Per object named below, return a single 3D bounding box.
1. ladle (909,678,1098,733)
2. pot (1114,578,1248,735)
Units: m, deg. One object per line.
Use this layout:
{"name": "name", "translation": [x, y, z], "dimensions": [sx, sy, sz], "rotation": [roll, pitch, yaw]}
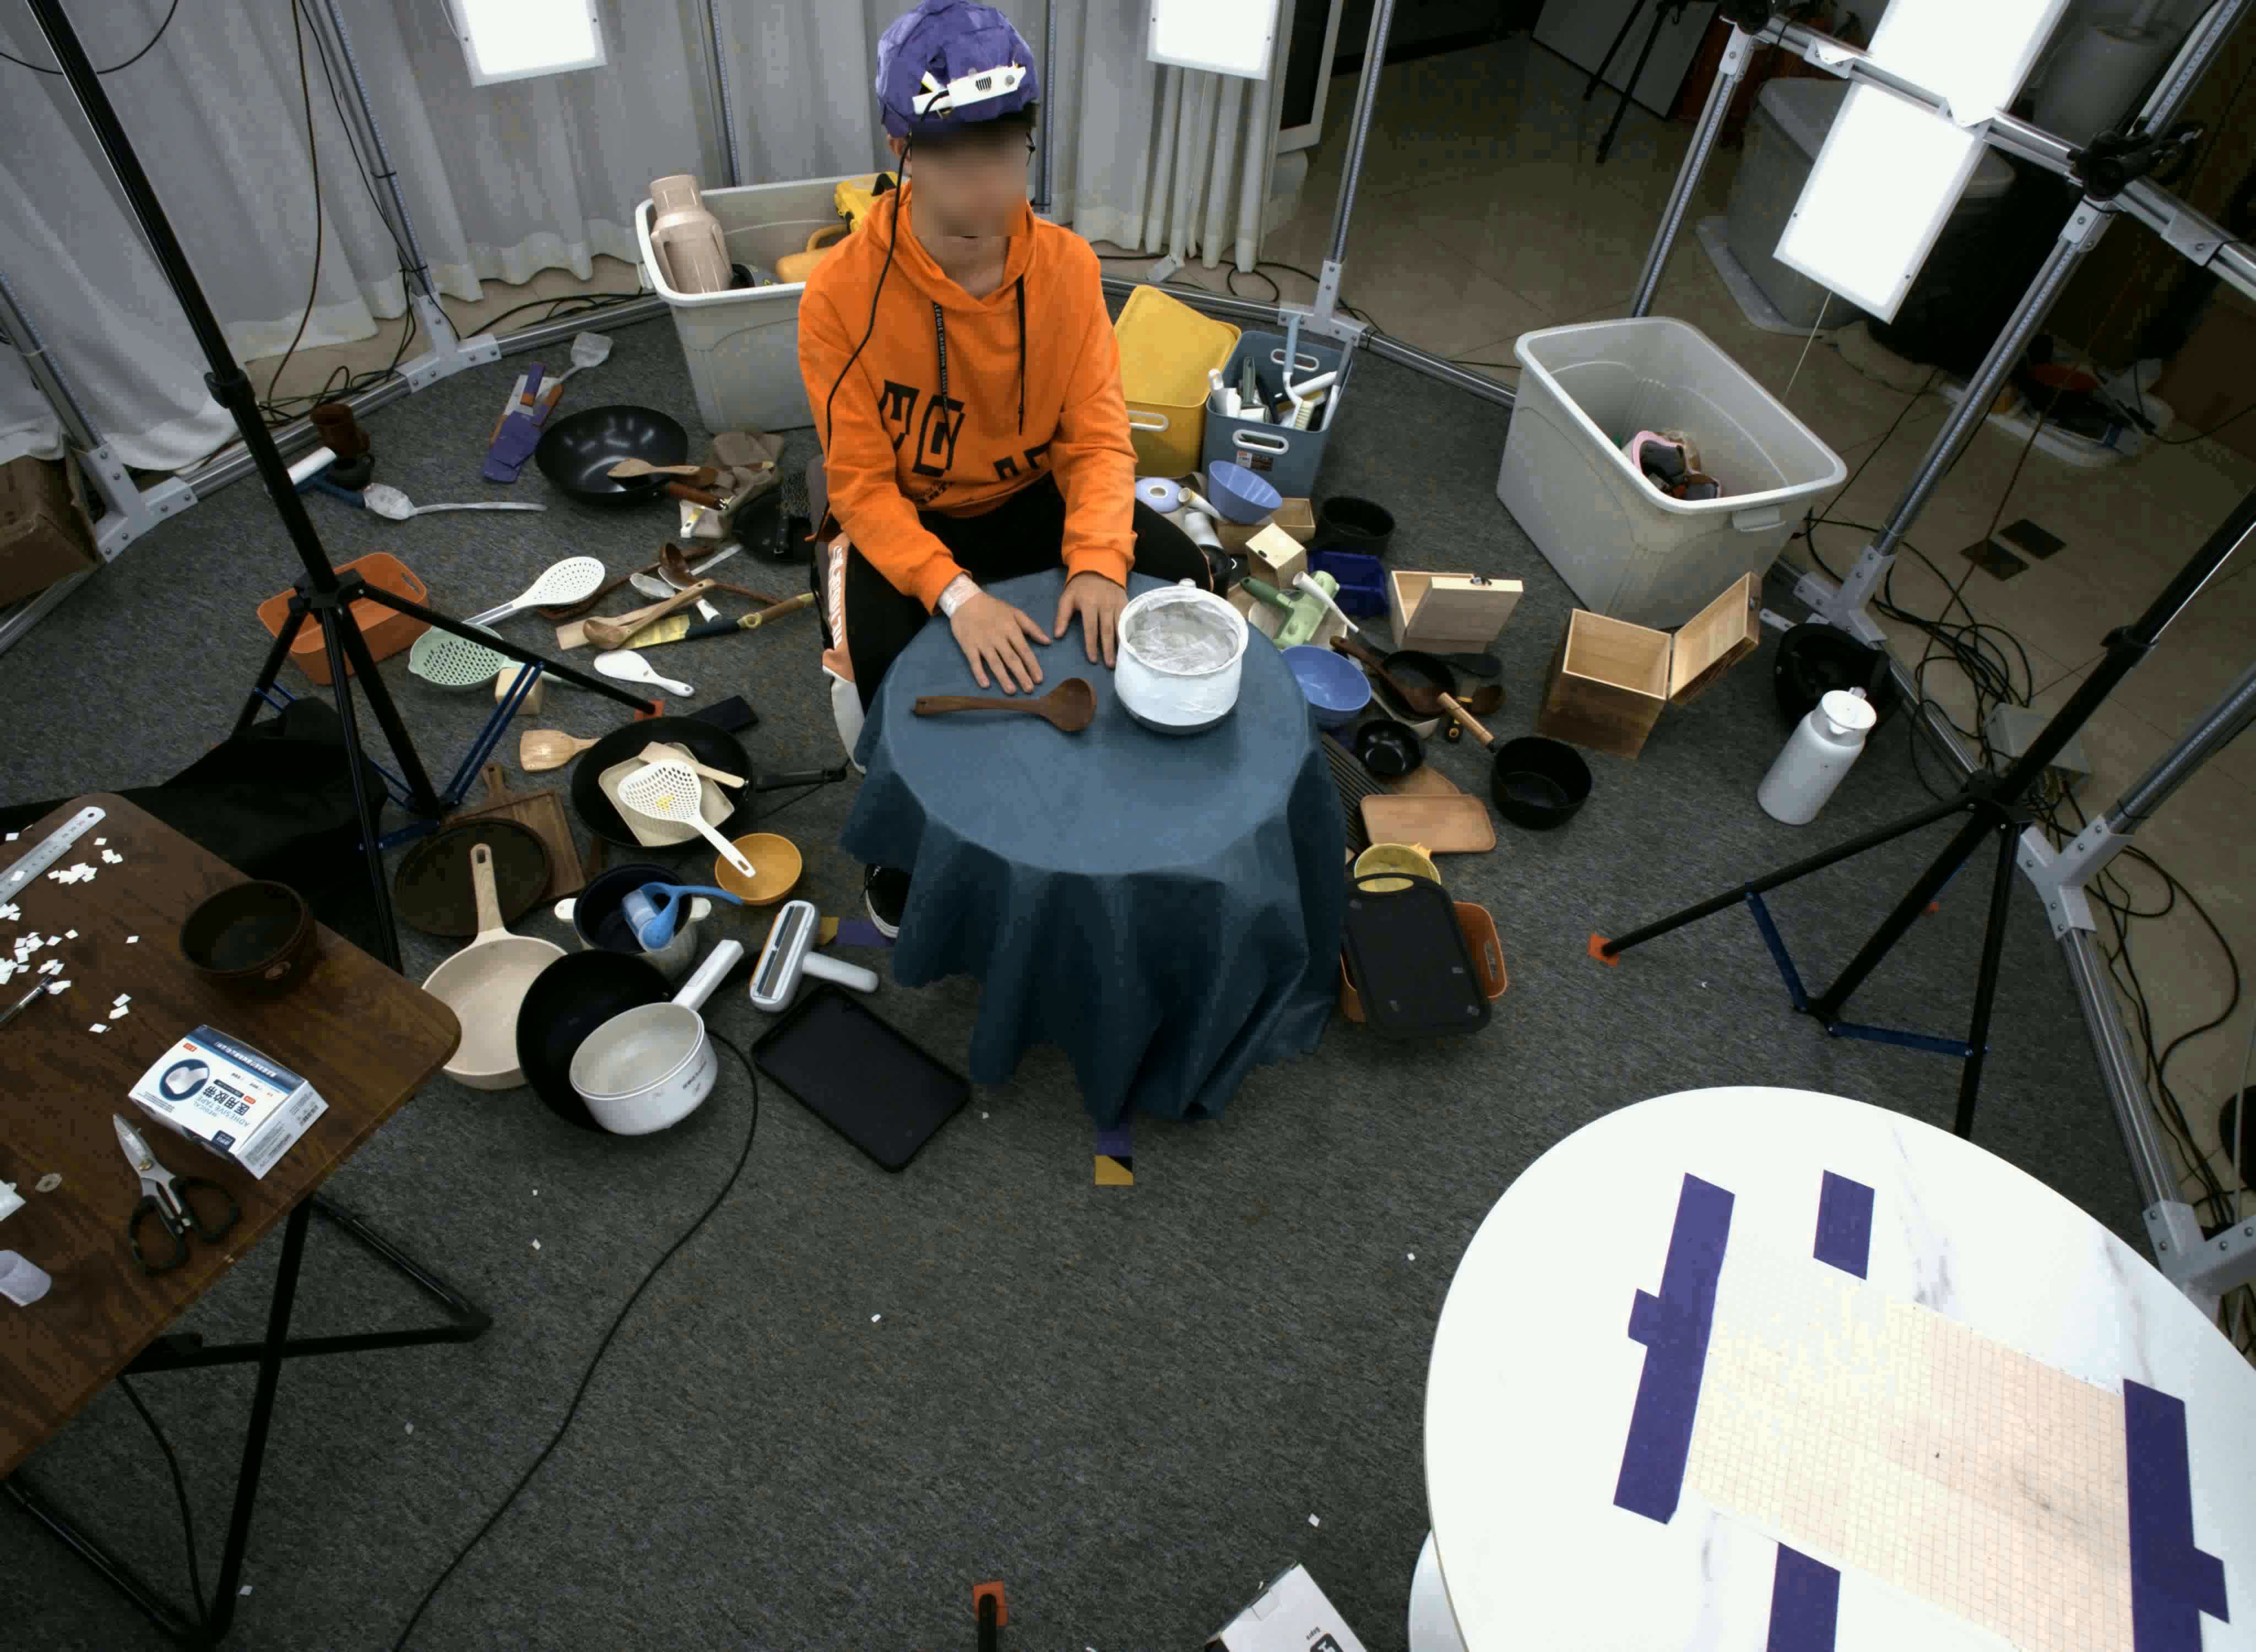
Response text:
{"name": "ladle", "translation": [-0.171, -0.168, 1.765], "dimensions": [0.260, 0.064, 0.077], "rotation": [1, 75, -3]}
{"name": "pot", "translation": [0.072, -0.247, 1.799], "dimensions": [0.178, 0.133, 0.239], "rotation": [5, 49, 0]}
